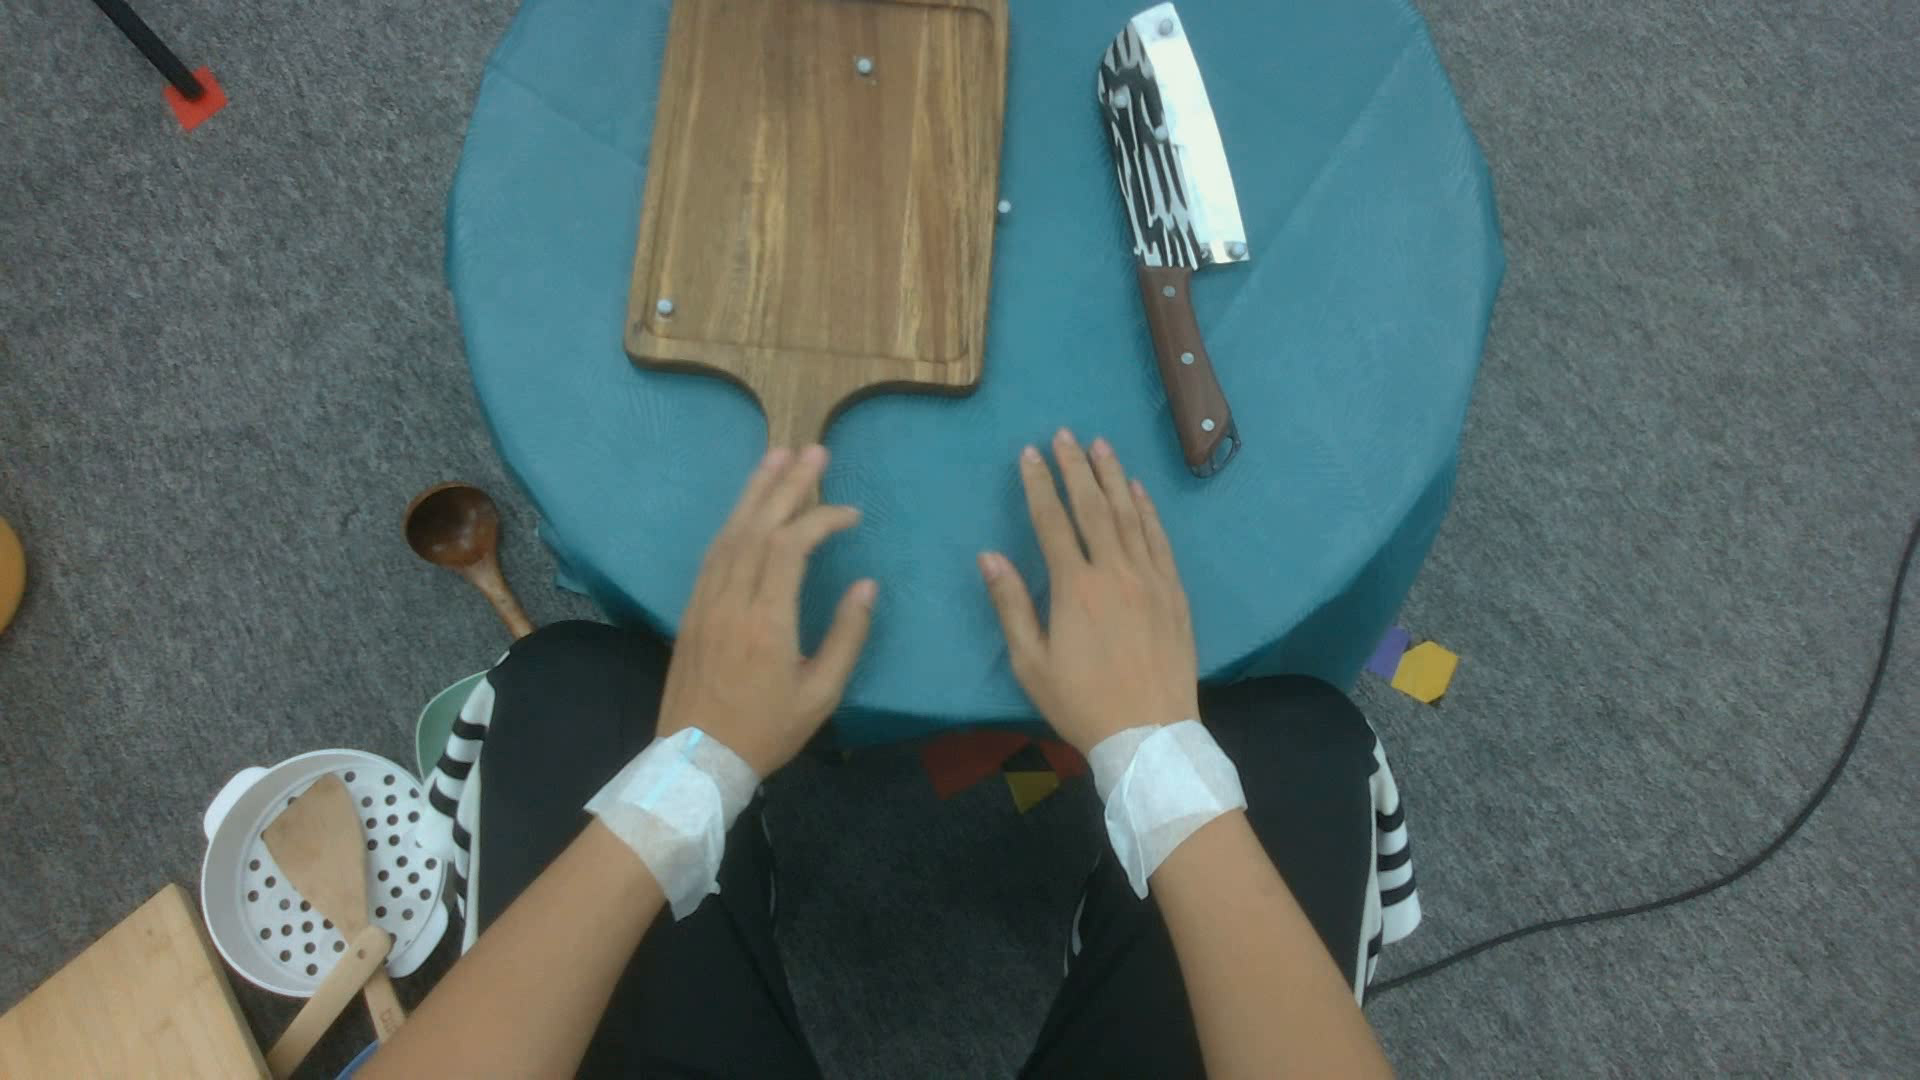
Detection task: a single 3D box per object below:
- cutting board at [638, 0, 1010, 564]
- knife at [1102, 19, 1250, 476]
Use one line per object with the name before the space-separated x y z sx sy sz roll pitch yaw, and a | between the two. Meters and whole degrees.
cutting board | -0.078 -0.158 0.789 0.201 0.023 0.353 4 74 -1
knife | 0.132 -0.180 0.803 0.068 0.024 0.300 -7 71 -6
